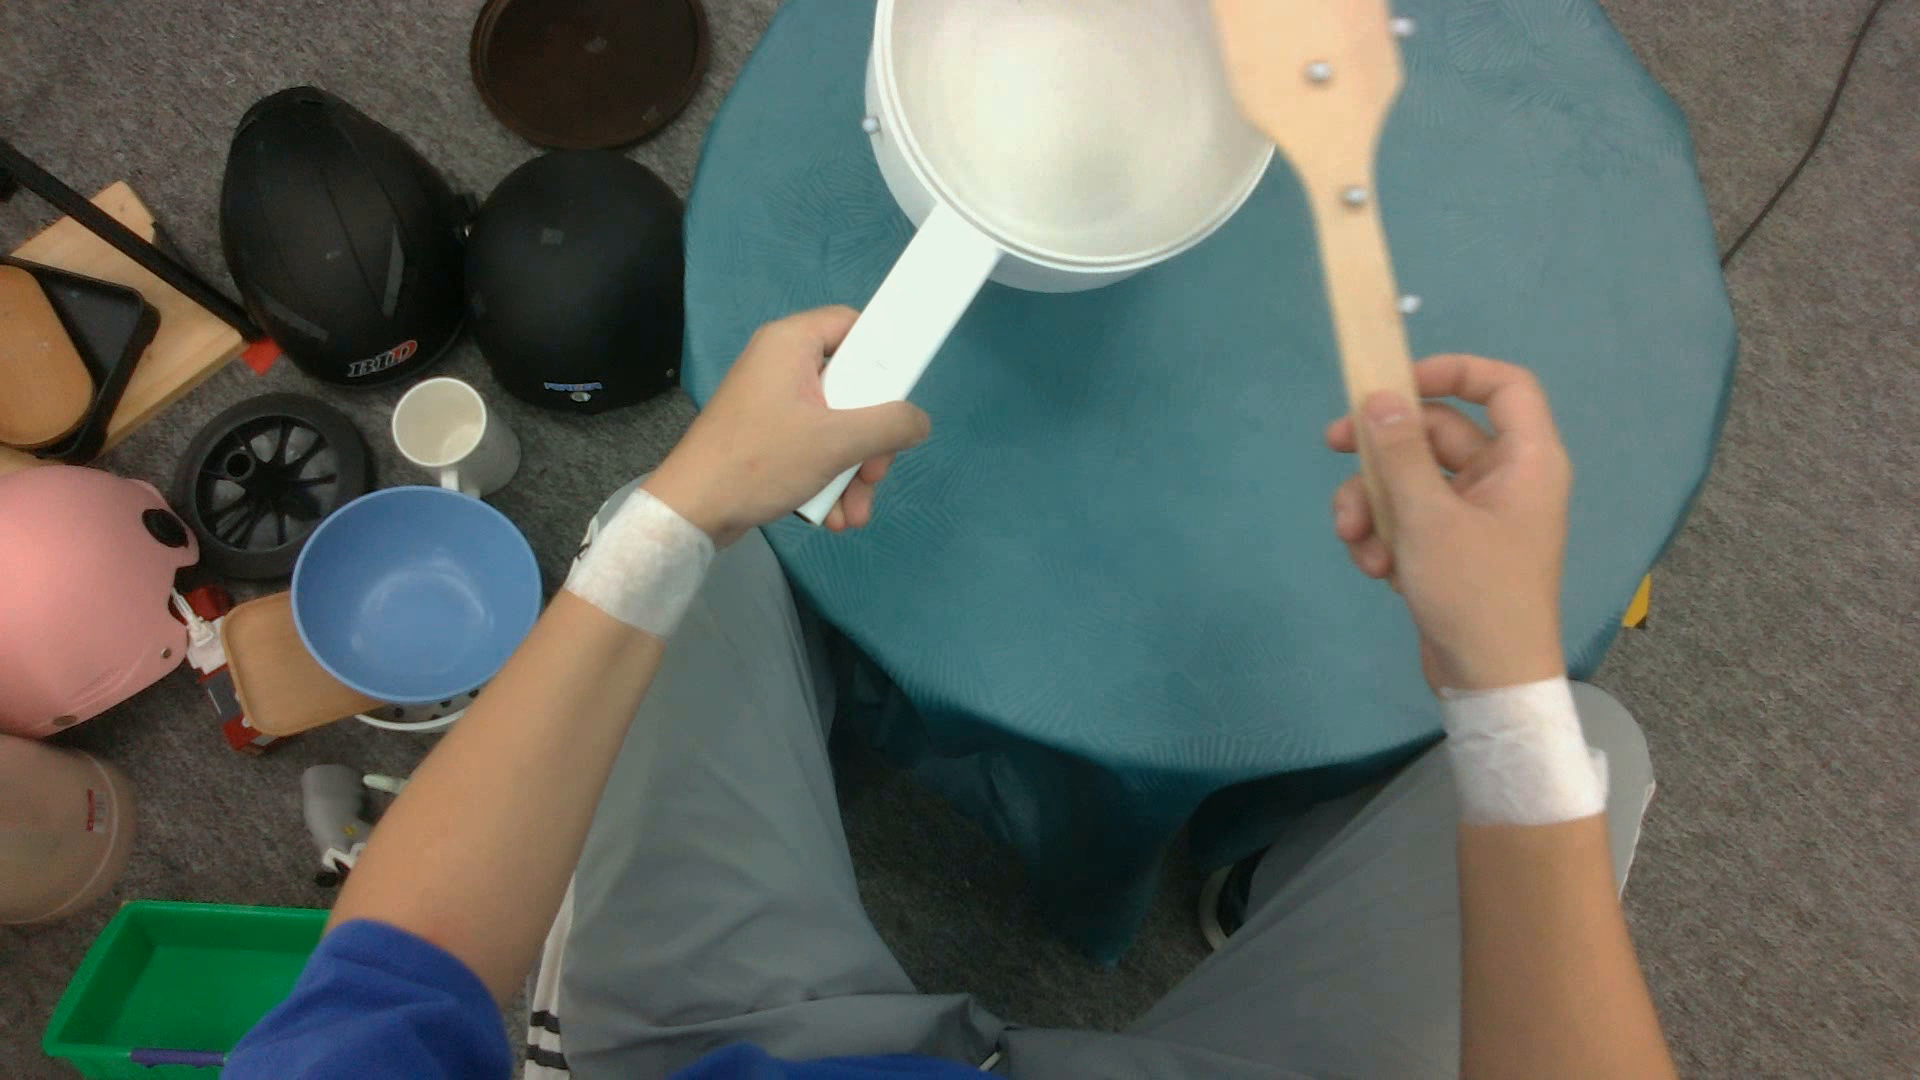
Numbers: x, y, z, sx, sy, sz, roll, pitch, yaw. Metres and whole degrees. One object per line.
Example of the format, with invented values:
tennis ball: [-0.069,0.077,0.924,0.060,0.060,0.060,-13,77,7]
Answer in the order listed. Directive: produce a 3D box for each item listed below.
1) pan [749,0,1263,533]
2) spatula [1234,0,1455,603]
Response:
pan: [0.005,-0.161,0.698,0.201,0.102,0.355,33,83,-10]
spatula: [0.176,-0.117,0.590,0.072,0.010,0.293,-10,91,9]
